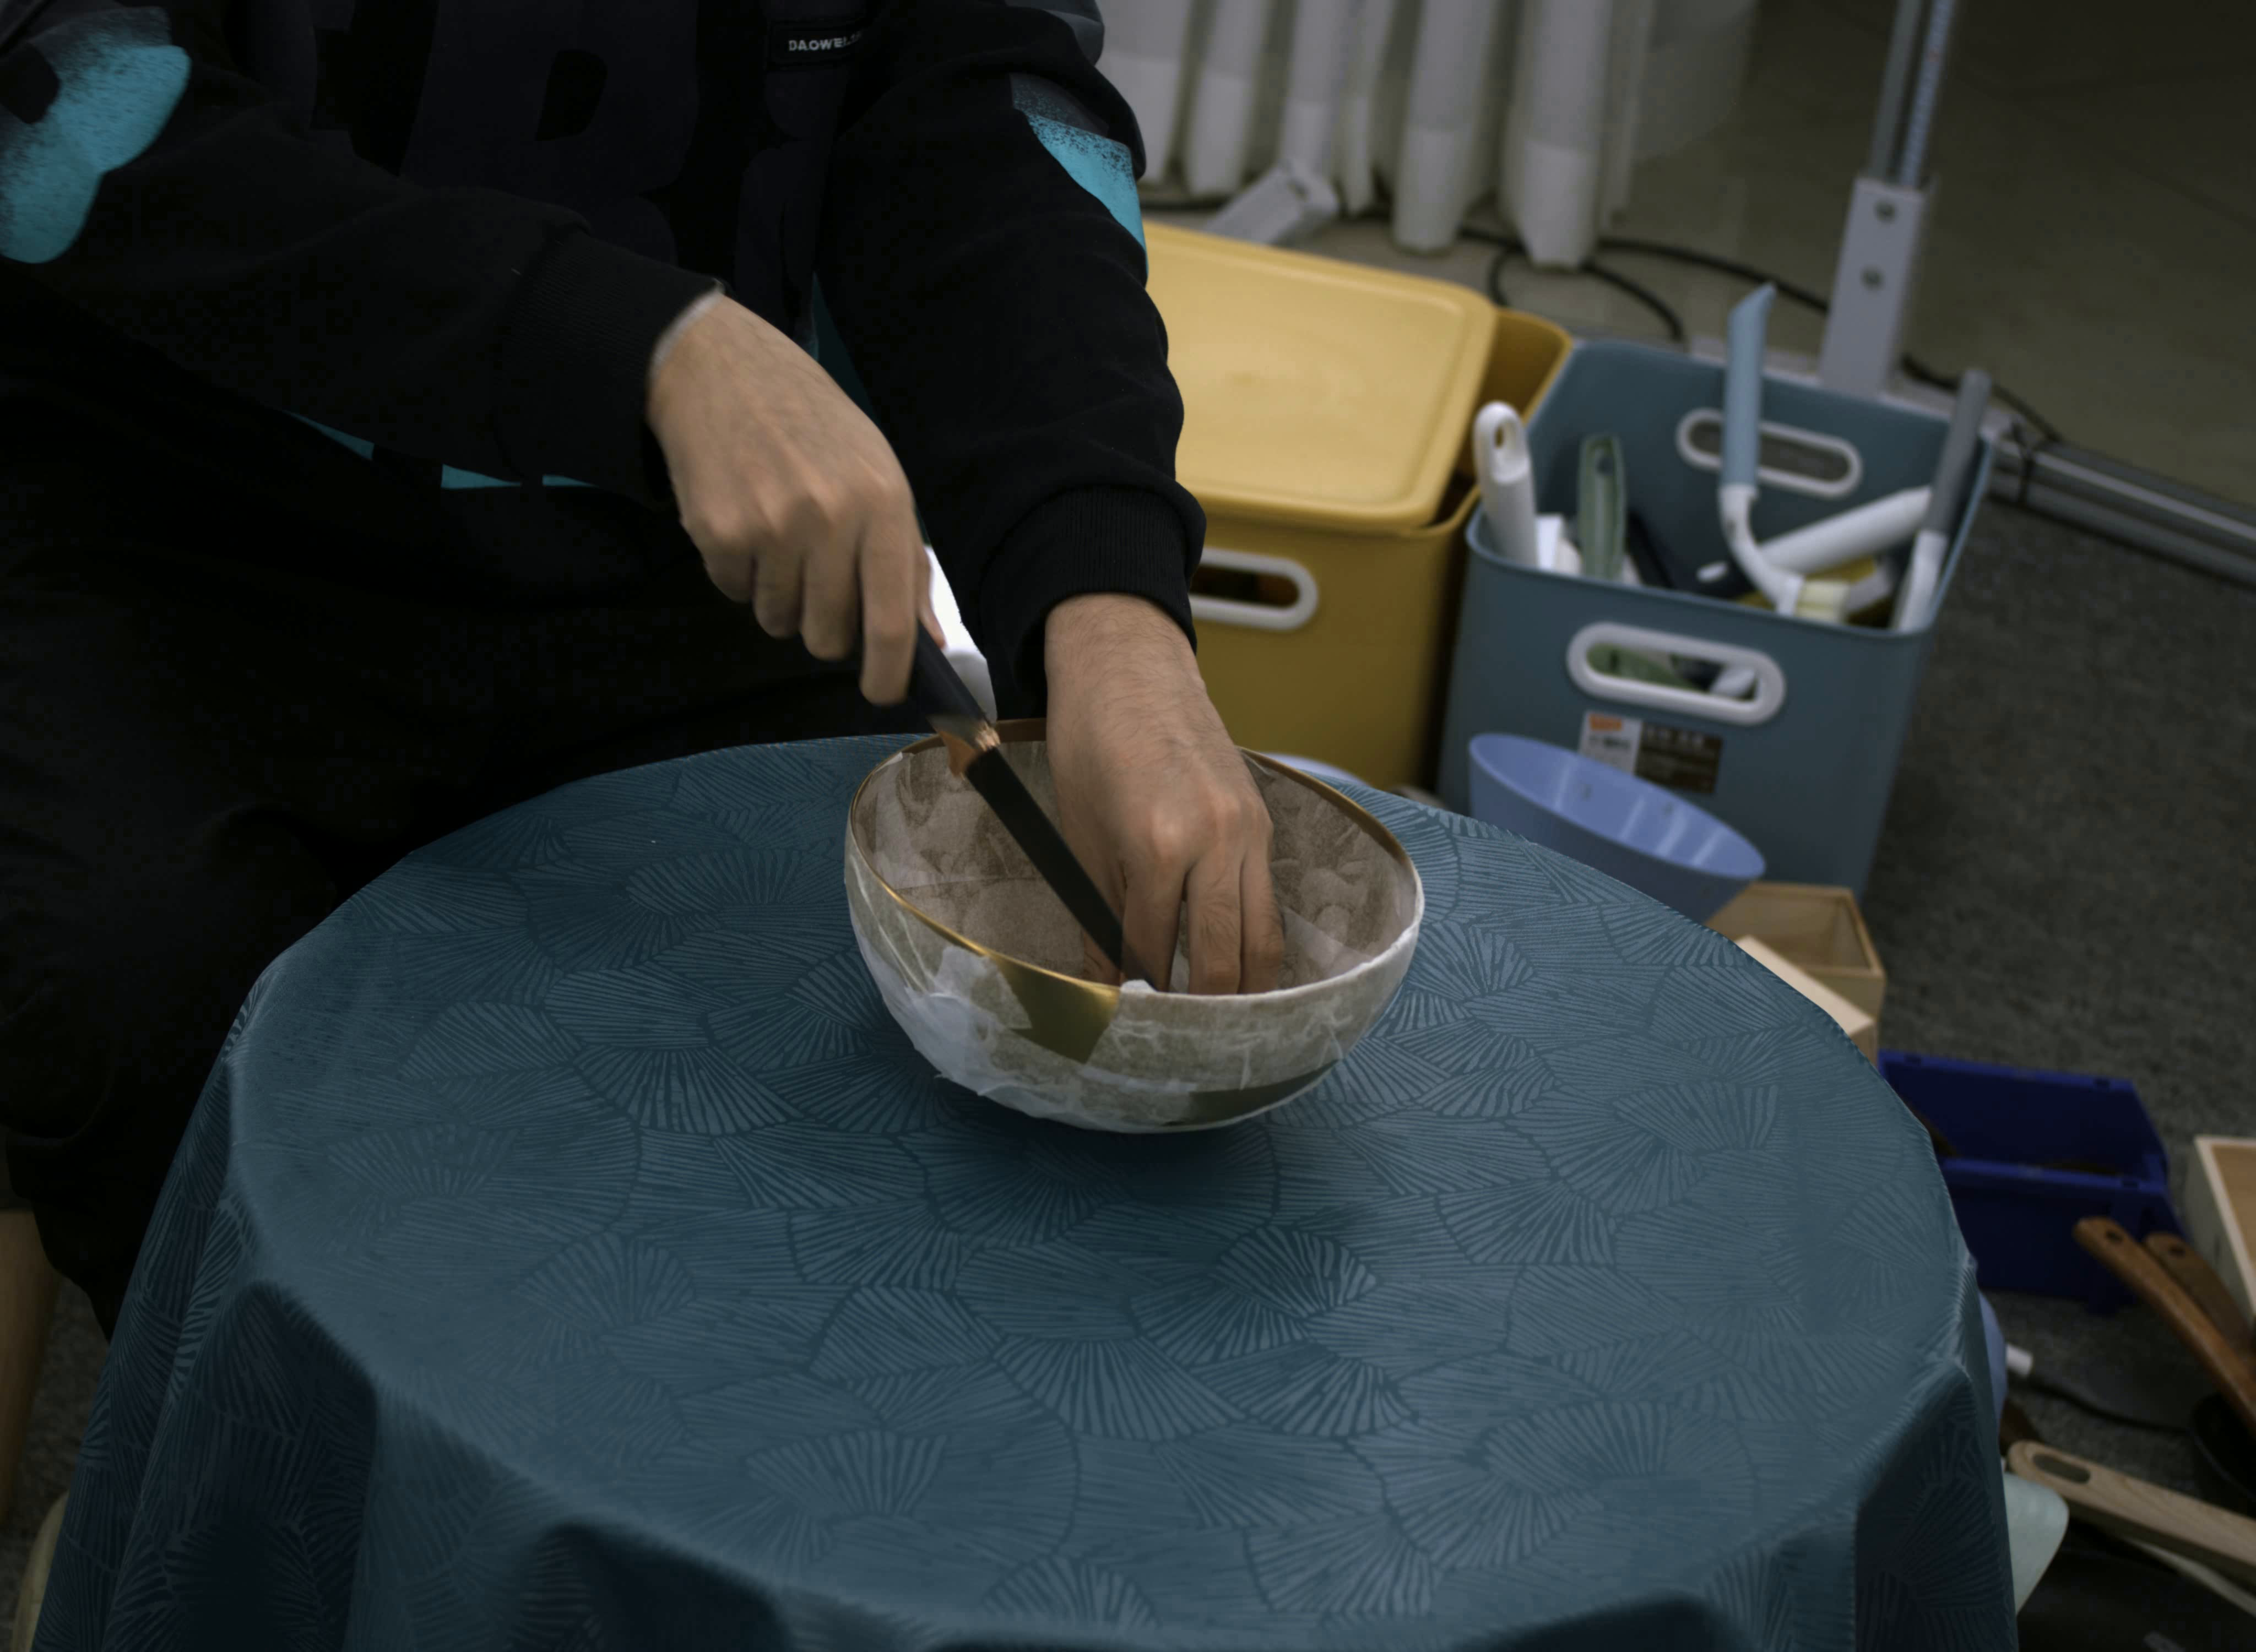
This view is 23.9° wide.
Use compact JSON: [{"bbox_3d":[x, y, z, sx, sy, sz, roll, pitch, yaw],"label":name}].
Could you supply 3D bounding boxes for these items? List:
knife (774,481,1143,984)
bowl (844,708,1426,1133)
[{"bbox_3d":[-0.053,-0.025,1.829,0.017,0.026,0.226,-30,81,-44],"label":"knife"},{"bbox_3d":[-0.004,0.044,1.850,0.214,0.094,0.216,6,27,-4],"label":"bowl"}]
